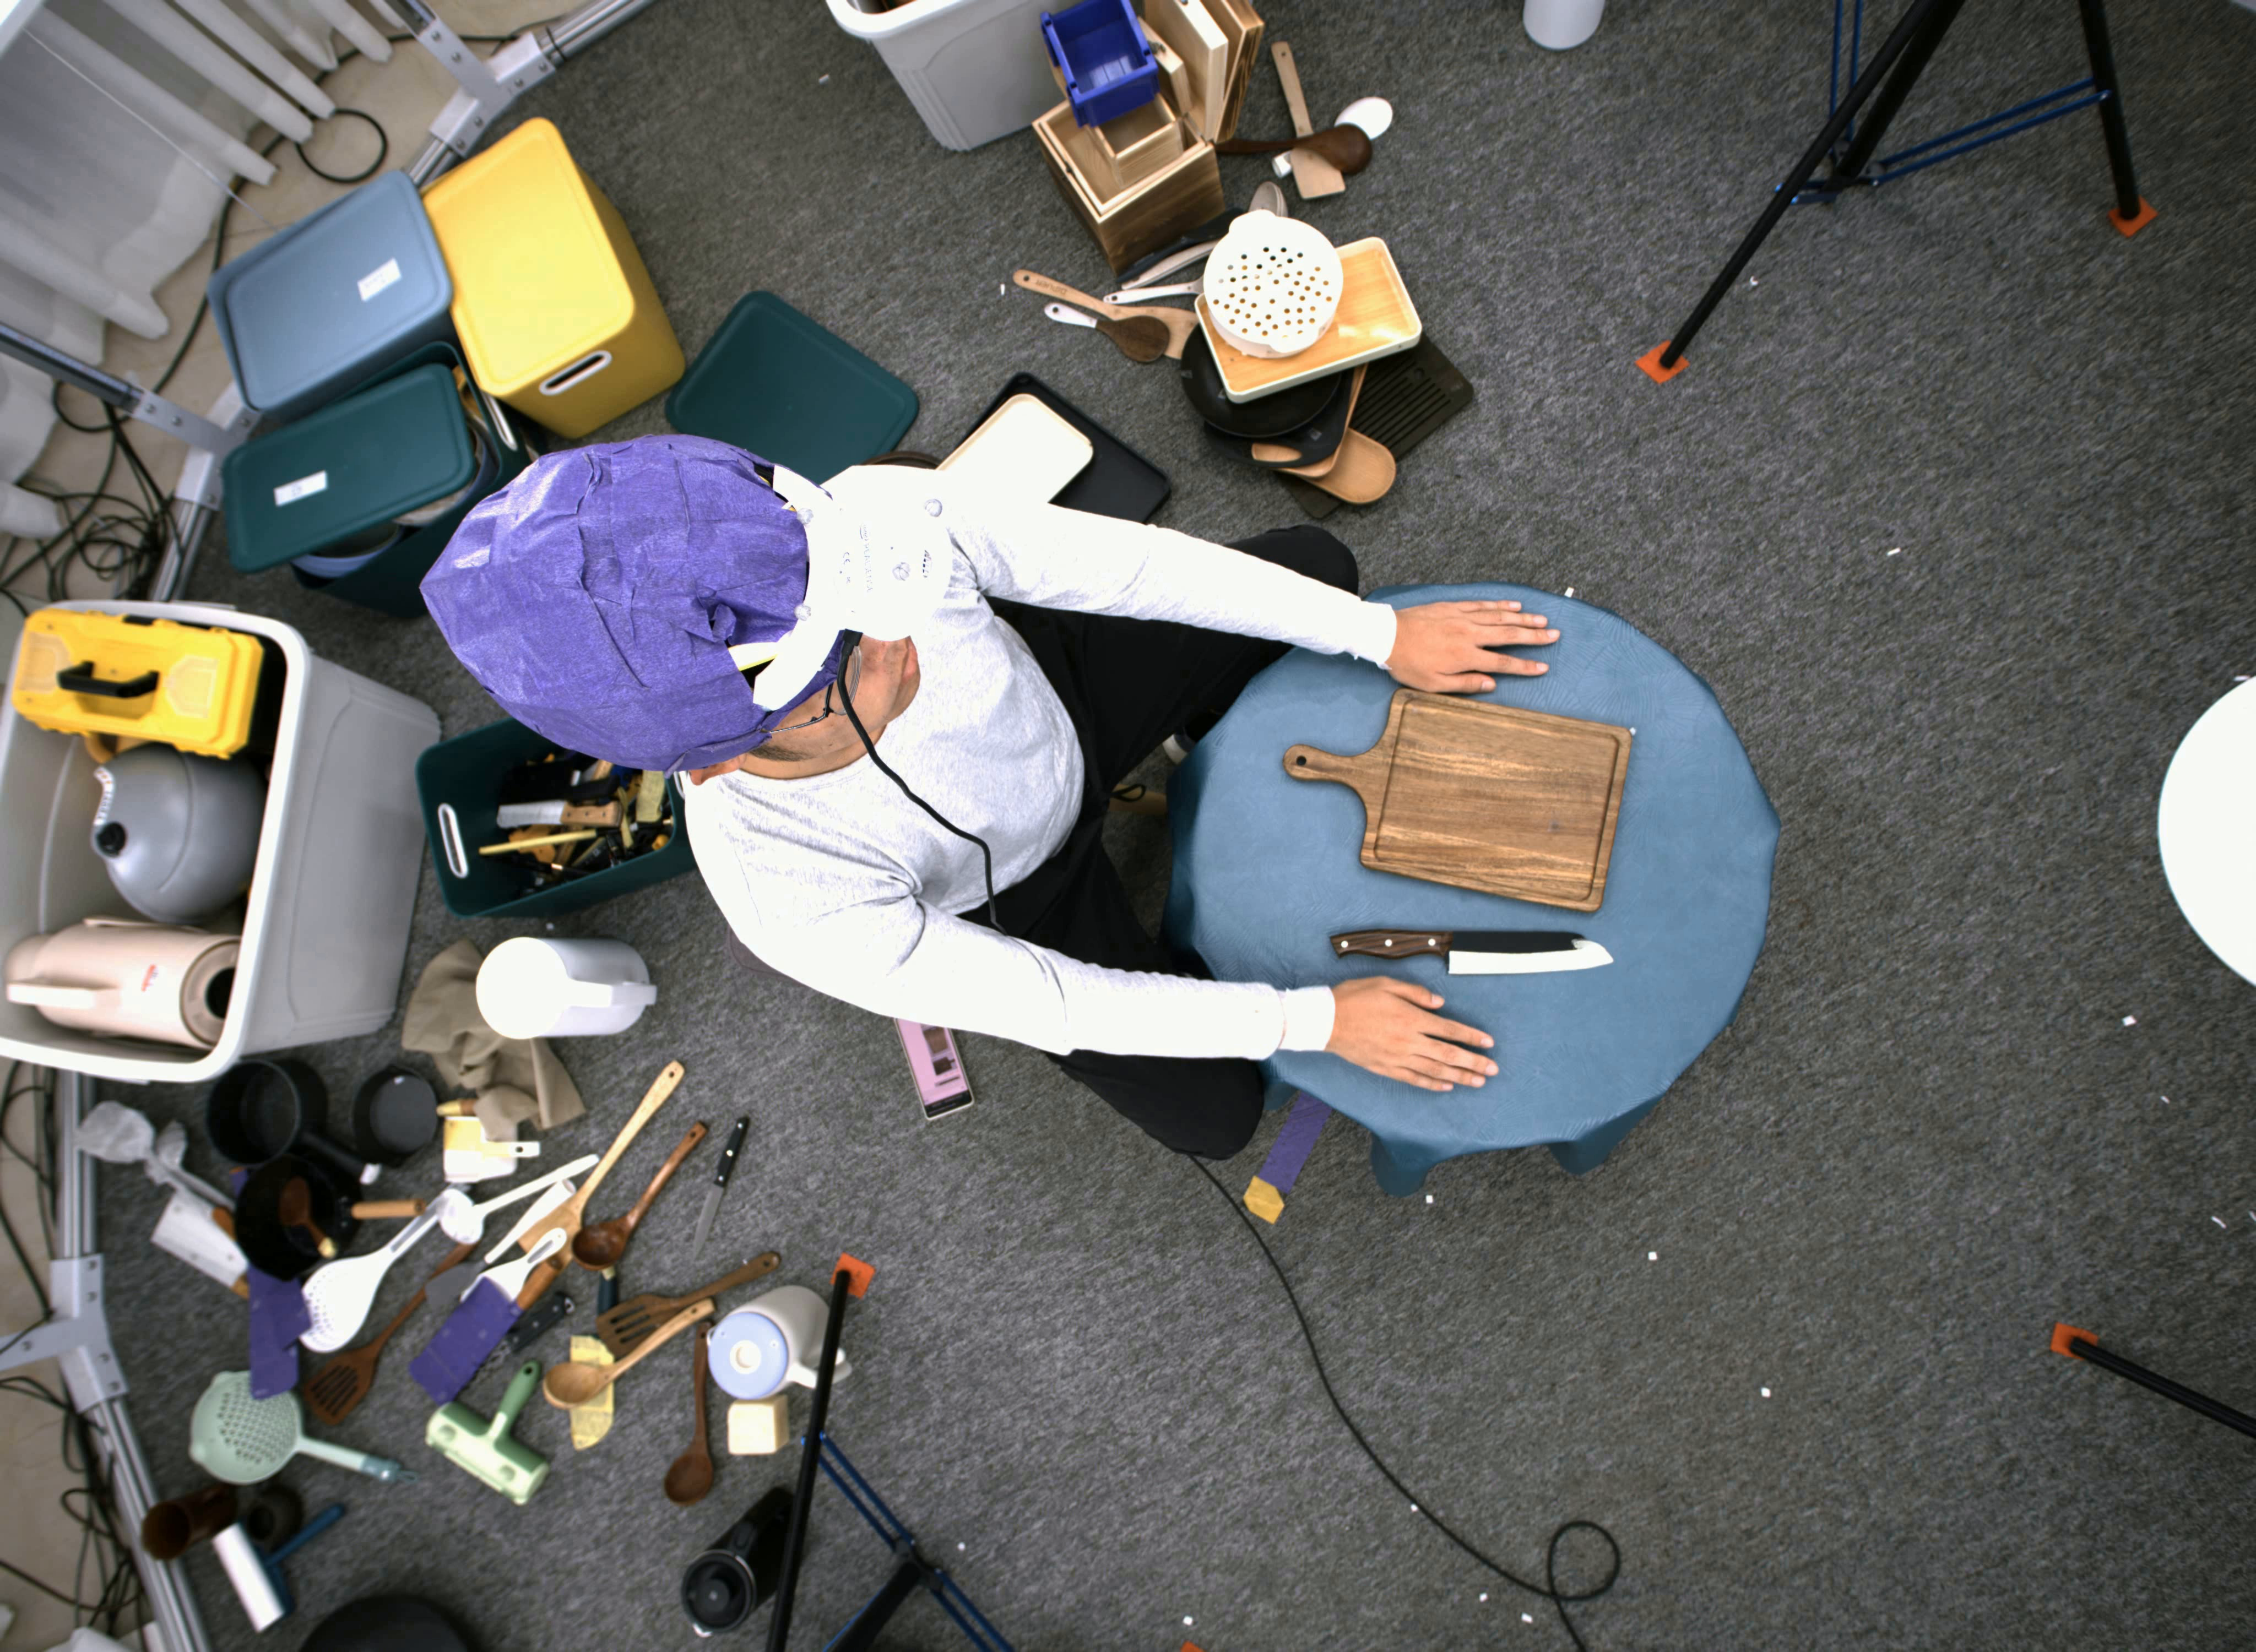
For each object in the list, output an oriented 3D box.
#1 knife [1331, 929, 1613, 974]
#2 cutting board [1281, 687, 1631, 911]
[{"bbox_3d":[0.356,0.127,1.433,0.290,0.020,0.050,1,91,8],"label":"knife"},{"bbox_3d":[0.335,-0.041,1.444,0.353,0.023,0.200,11,88,11],"label":"cutting board"}]
